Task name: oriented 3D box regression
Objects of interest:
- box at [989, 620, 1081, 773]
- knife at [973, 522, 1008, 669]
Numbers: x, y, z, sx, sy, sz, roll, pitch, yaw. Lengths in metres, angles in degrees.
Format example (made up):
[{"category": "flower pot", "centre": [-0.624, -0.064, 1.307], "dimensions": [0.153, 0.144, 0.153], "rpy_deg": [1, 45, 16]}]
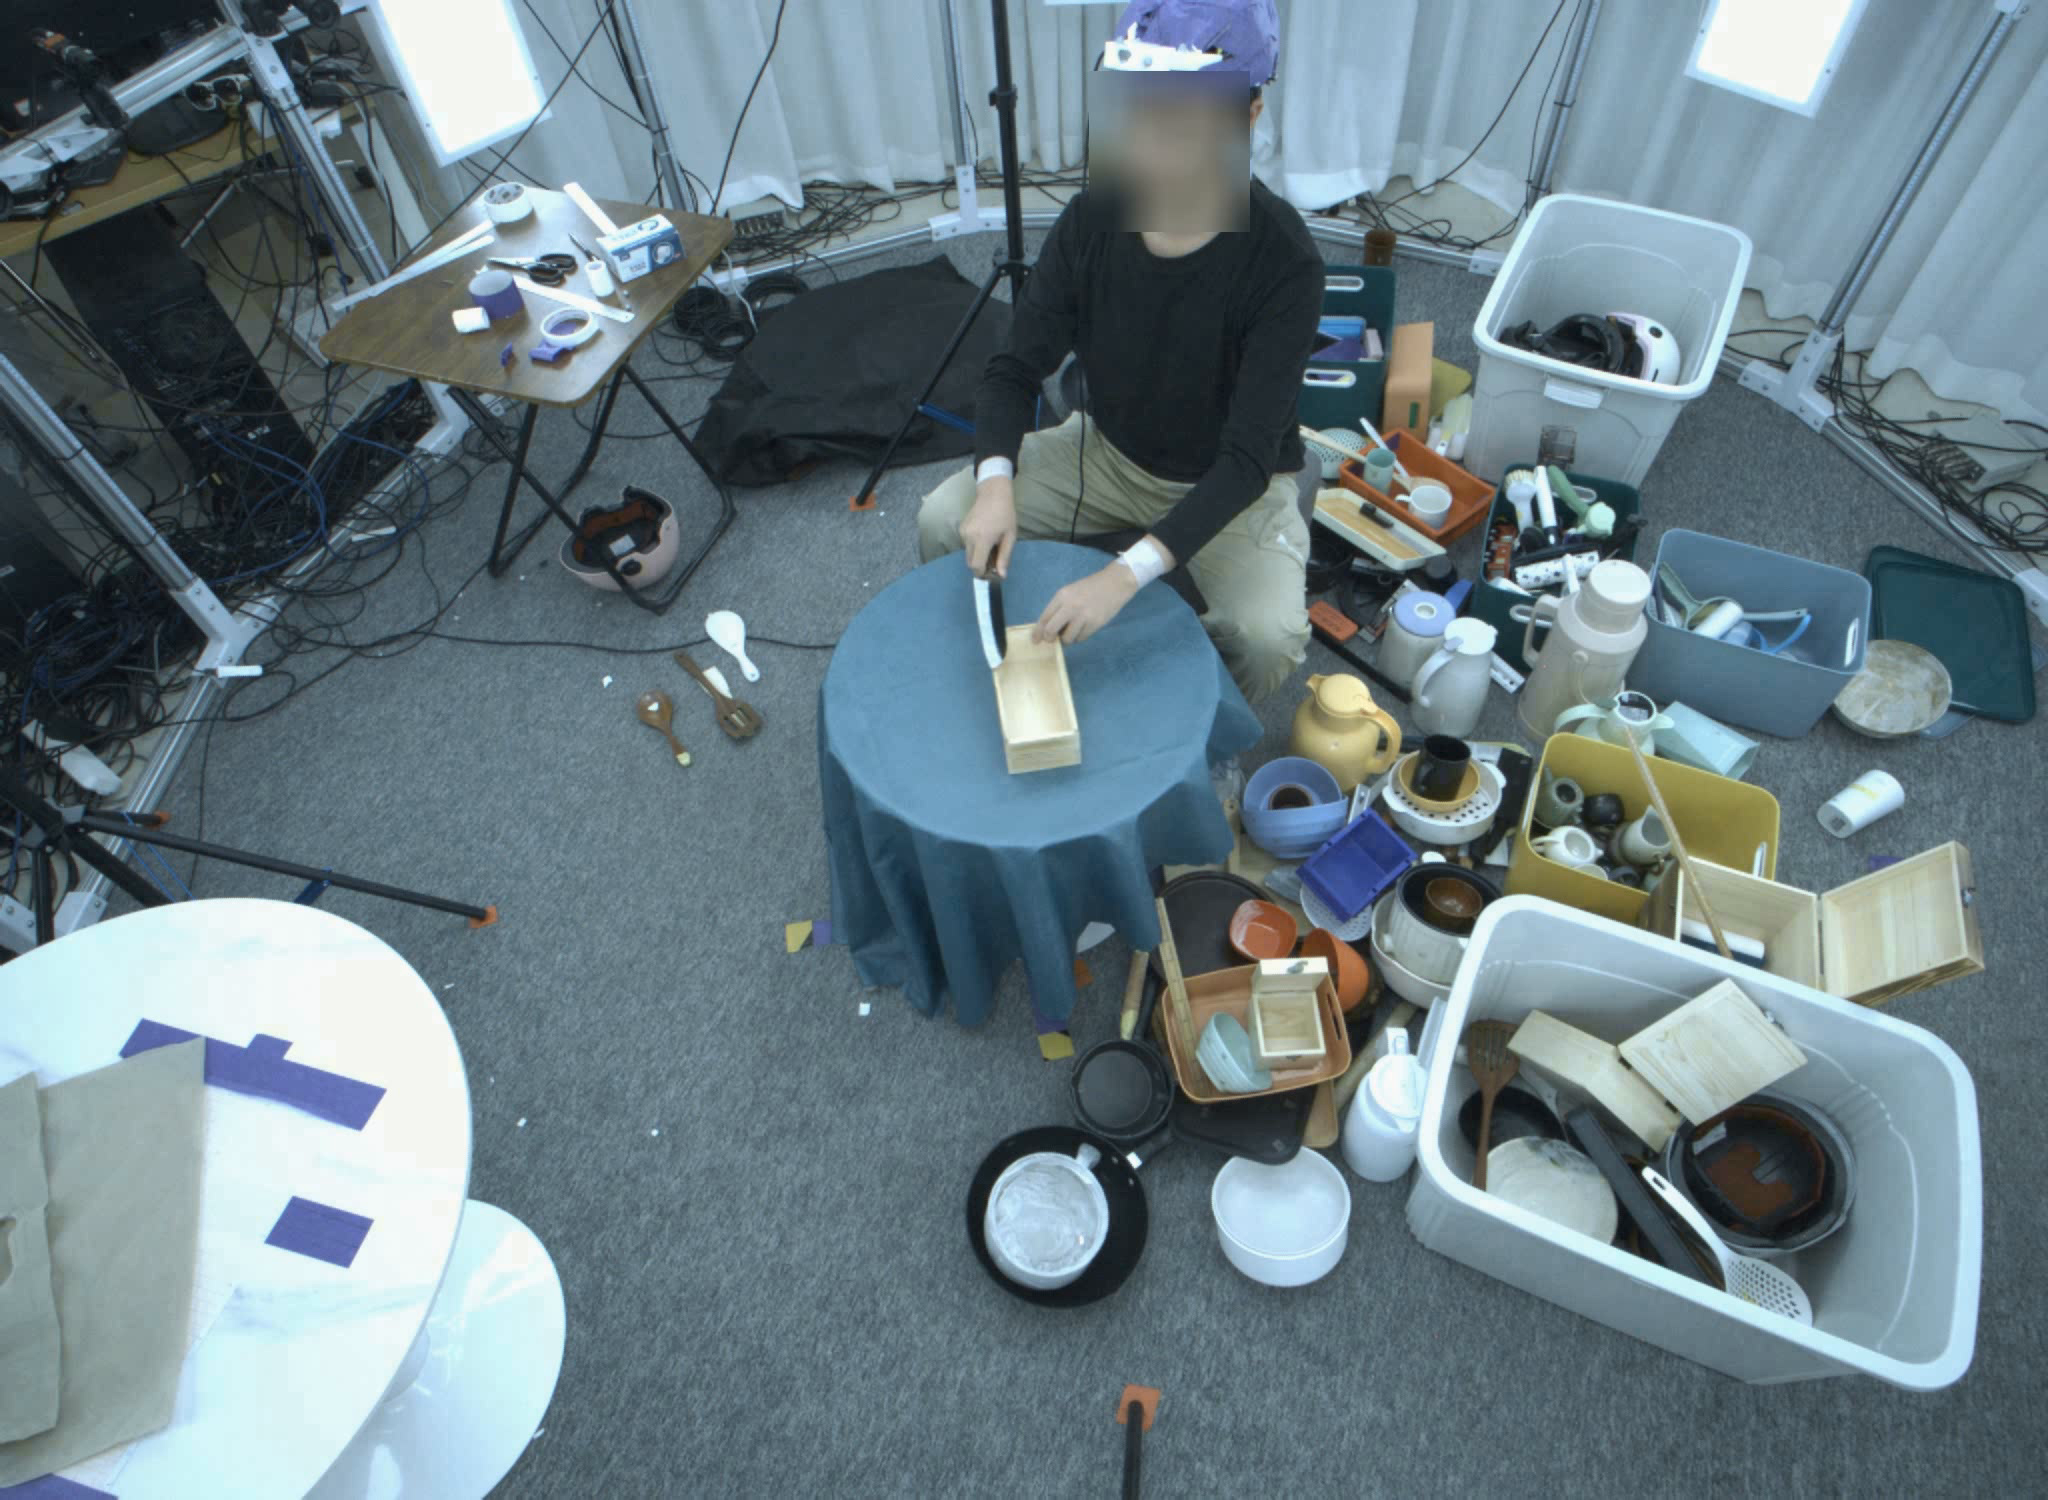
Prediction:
[{"category": "box", "centre": [0.013, -0.080, 1.795], "dimensions": [0.108, 0.081, 0.208], "rpy_deg": [-8, 56, -4]}, {"category": "knife", "centre": [-0.054, -0.235, 1.842], "dimensions": [0.051, 0.020, 0.285], "rpy_deg": [12, 54, -24]}]
